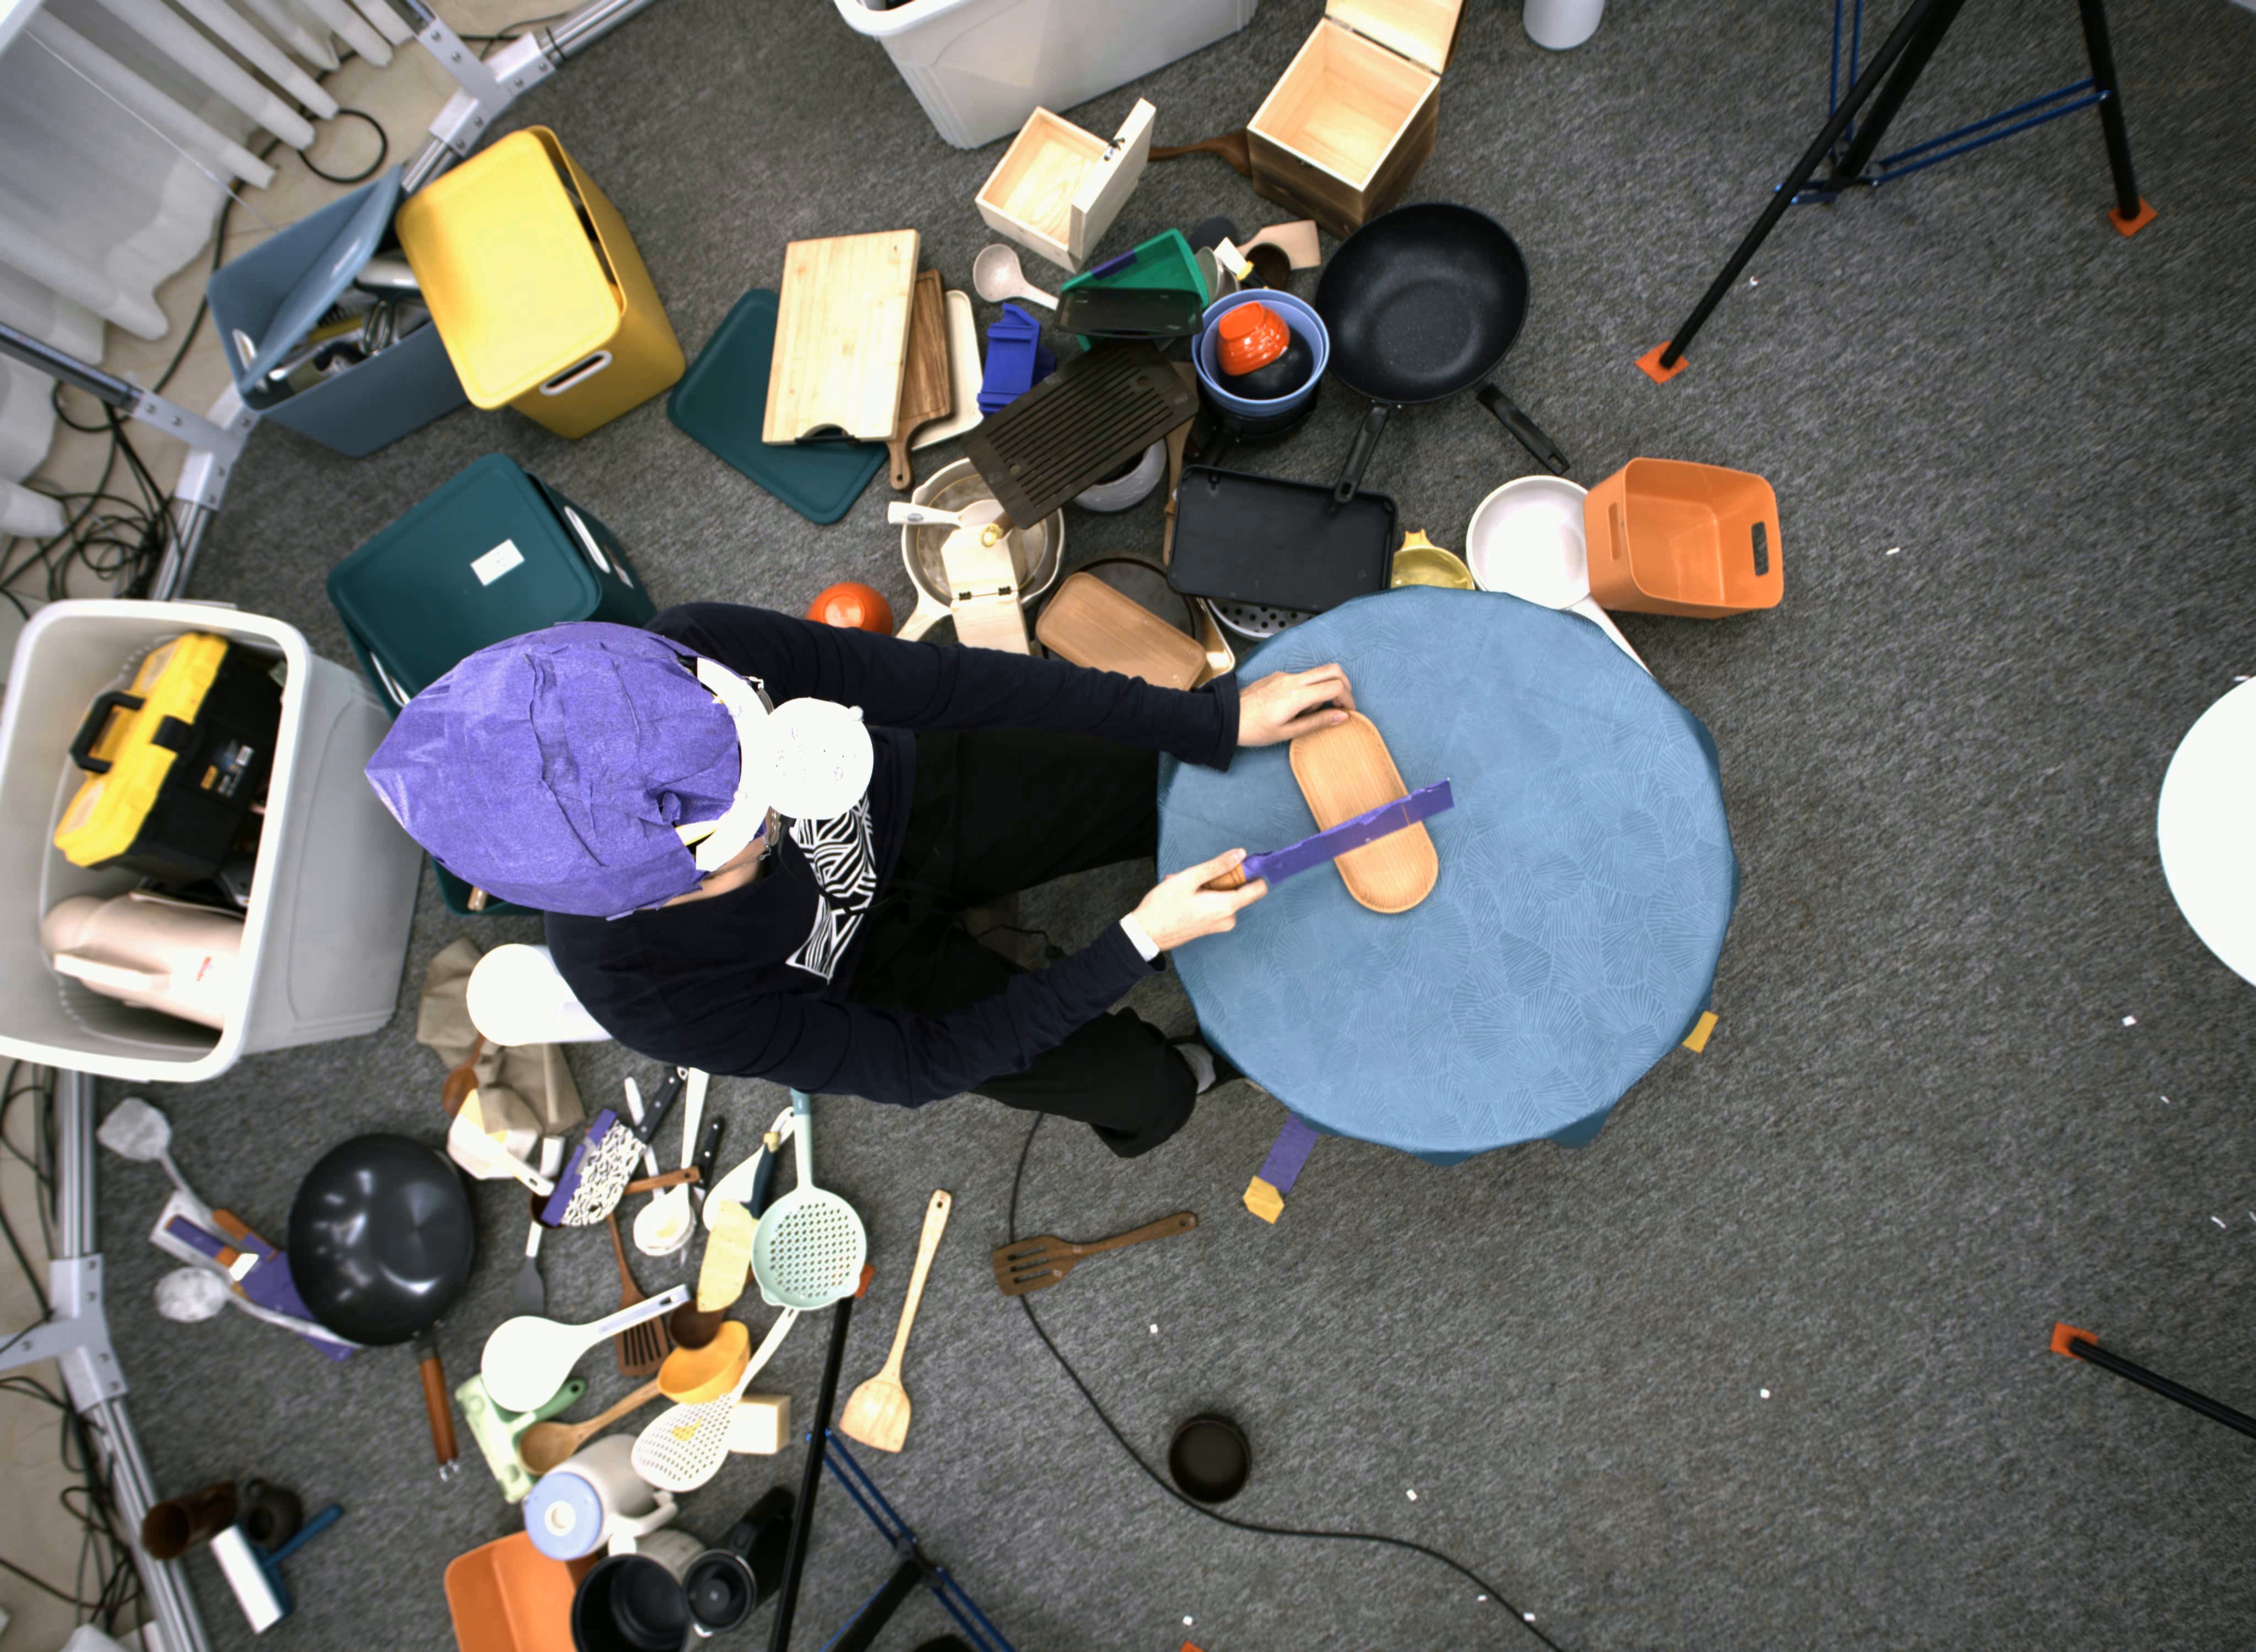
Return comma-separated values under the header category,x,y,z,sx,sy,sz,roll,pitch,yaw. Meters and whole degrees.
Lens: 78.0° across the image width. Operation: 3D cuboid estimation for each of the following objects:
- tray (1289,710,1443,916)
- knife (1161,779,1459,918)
category,x,y,z,sx,sy,sz,roll,pitch,yaw
tray,0.251,-0.015,1.461,0.102,0.020,0.230,-27,84,9
knife,0.190,0.031,1.412,0.317,0.105,0.031,-22,66,11
